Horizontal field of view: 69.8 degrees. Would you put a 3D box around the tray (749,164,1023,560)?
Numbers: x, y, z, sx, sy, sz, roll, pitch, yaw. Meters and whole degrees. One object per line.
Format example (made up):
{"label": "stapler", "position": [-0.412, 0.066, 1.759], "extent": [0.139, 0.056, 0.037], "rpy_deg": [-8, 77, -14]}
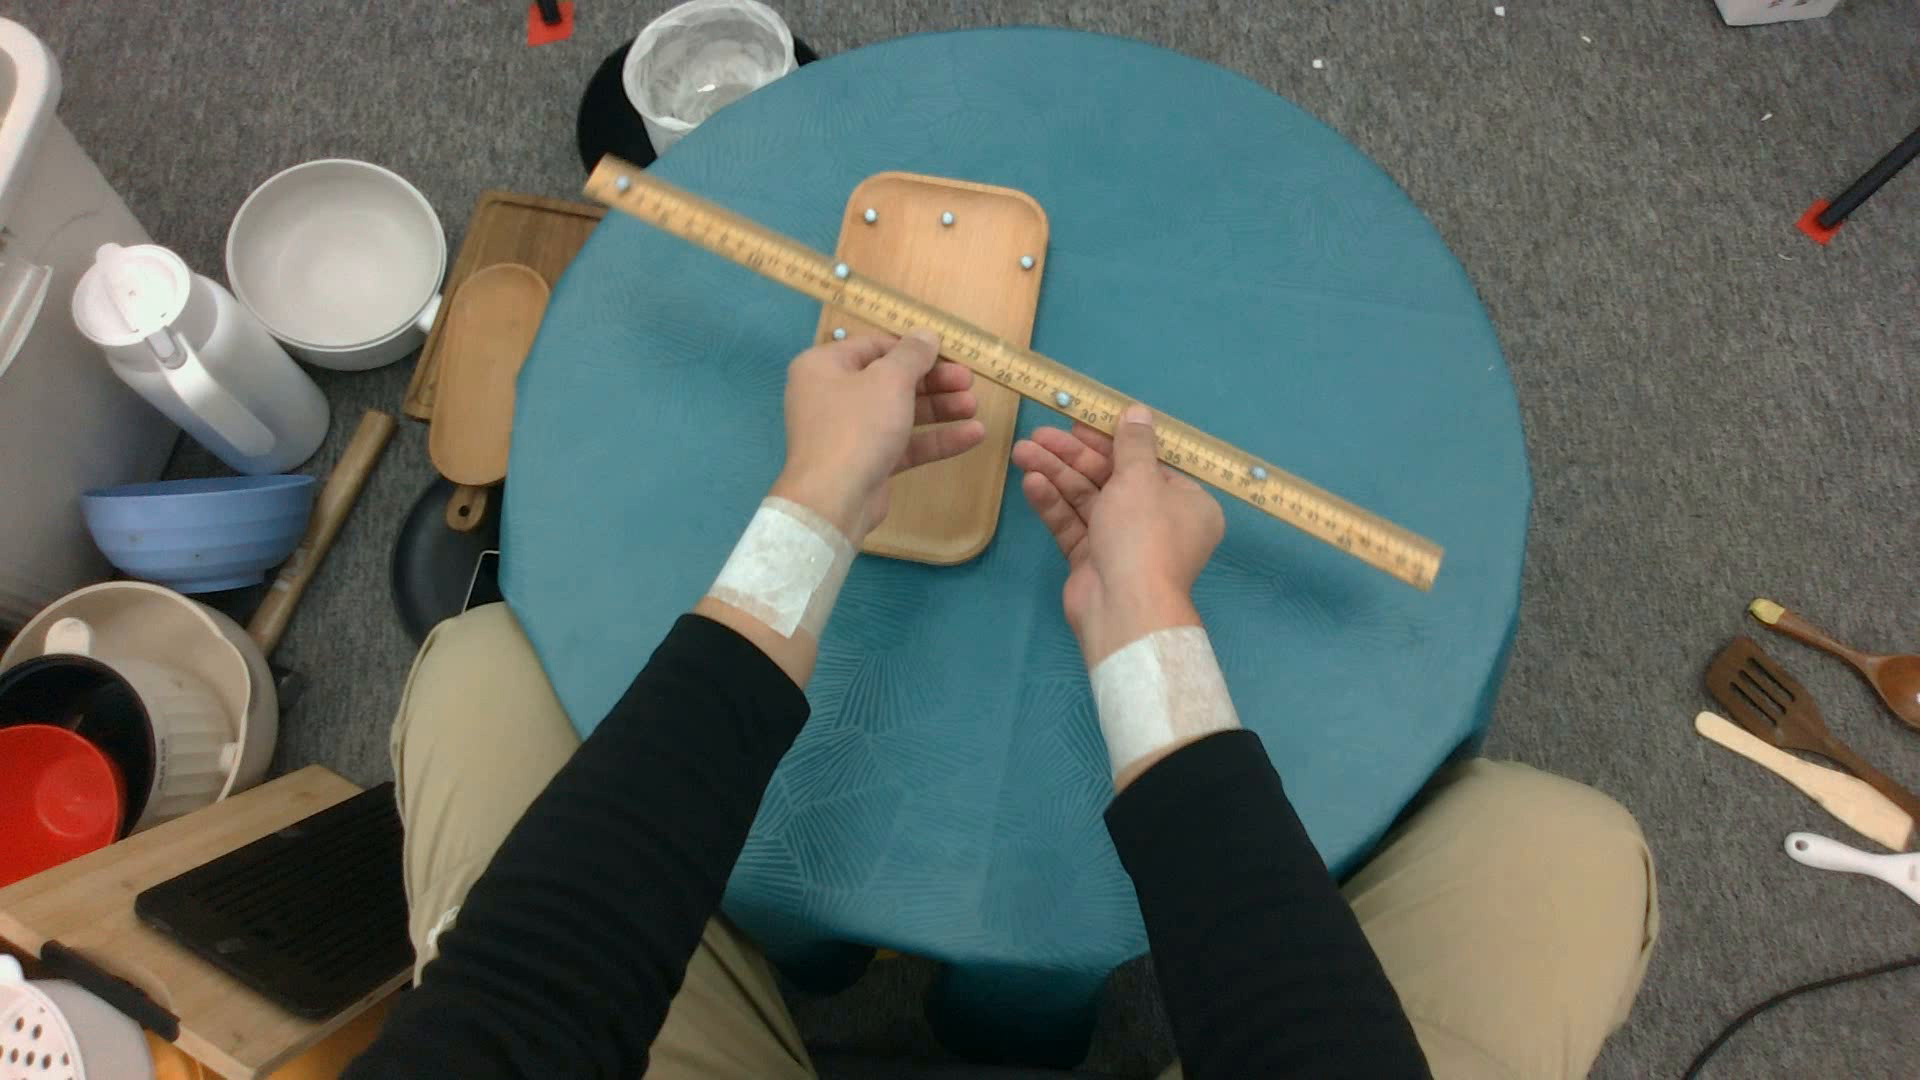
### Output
{"label": "tray", "position": [-0.041, -0.110, 0.820], "extent": [0.130, 0.023, 0.251], "rpy_deg": [9, 71, 4]}

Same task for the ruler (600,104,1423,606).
{"label": "ruler", "position": [0.022, -0.101, 0.736], "extent": [0.500, 0.006, 0.027], "rpy_deg": [31, 78, 4]}
